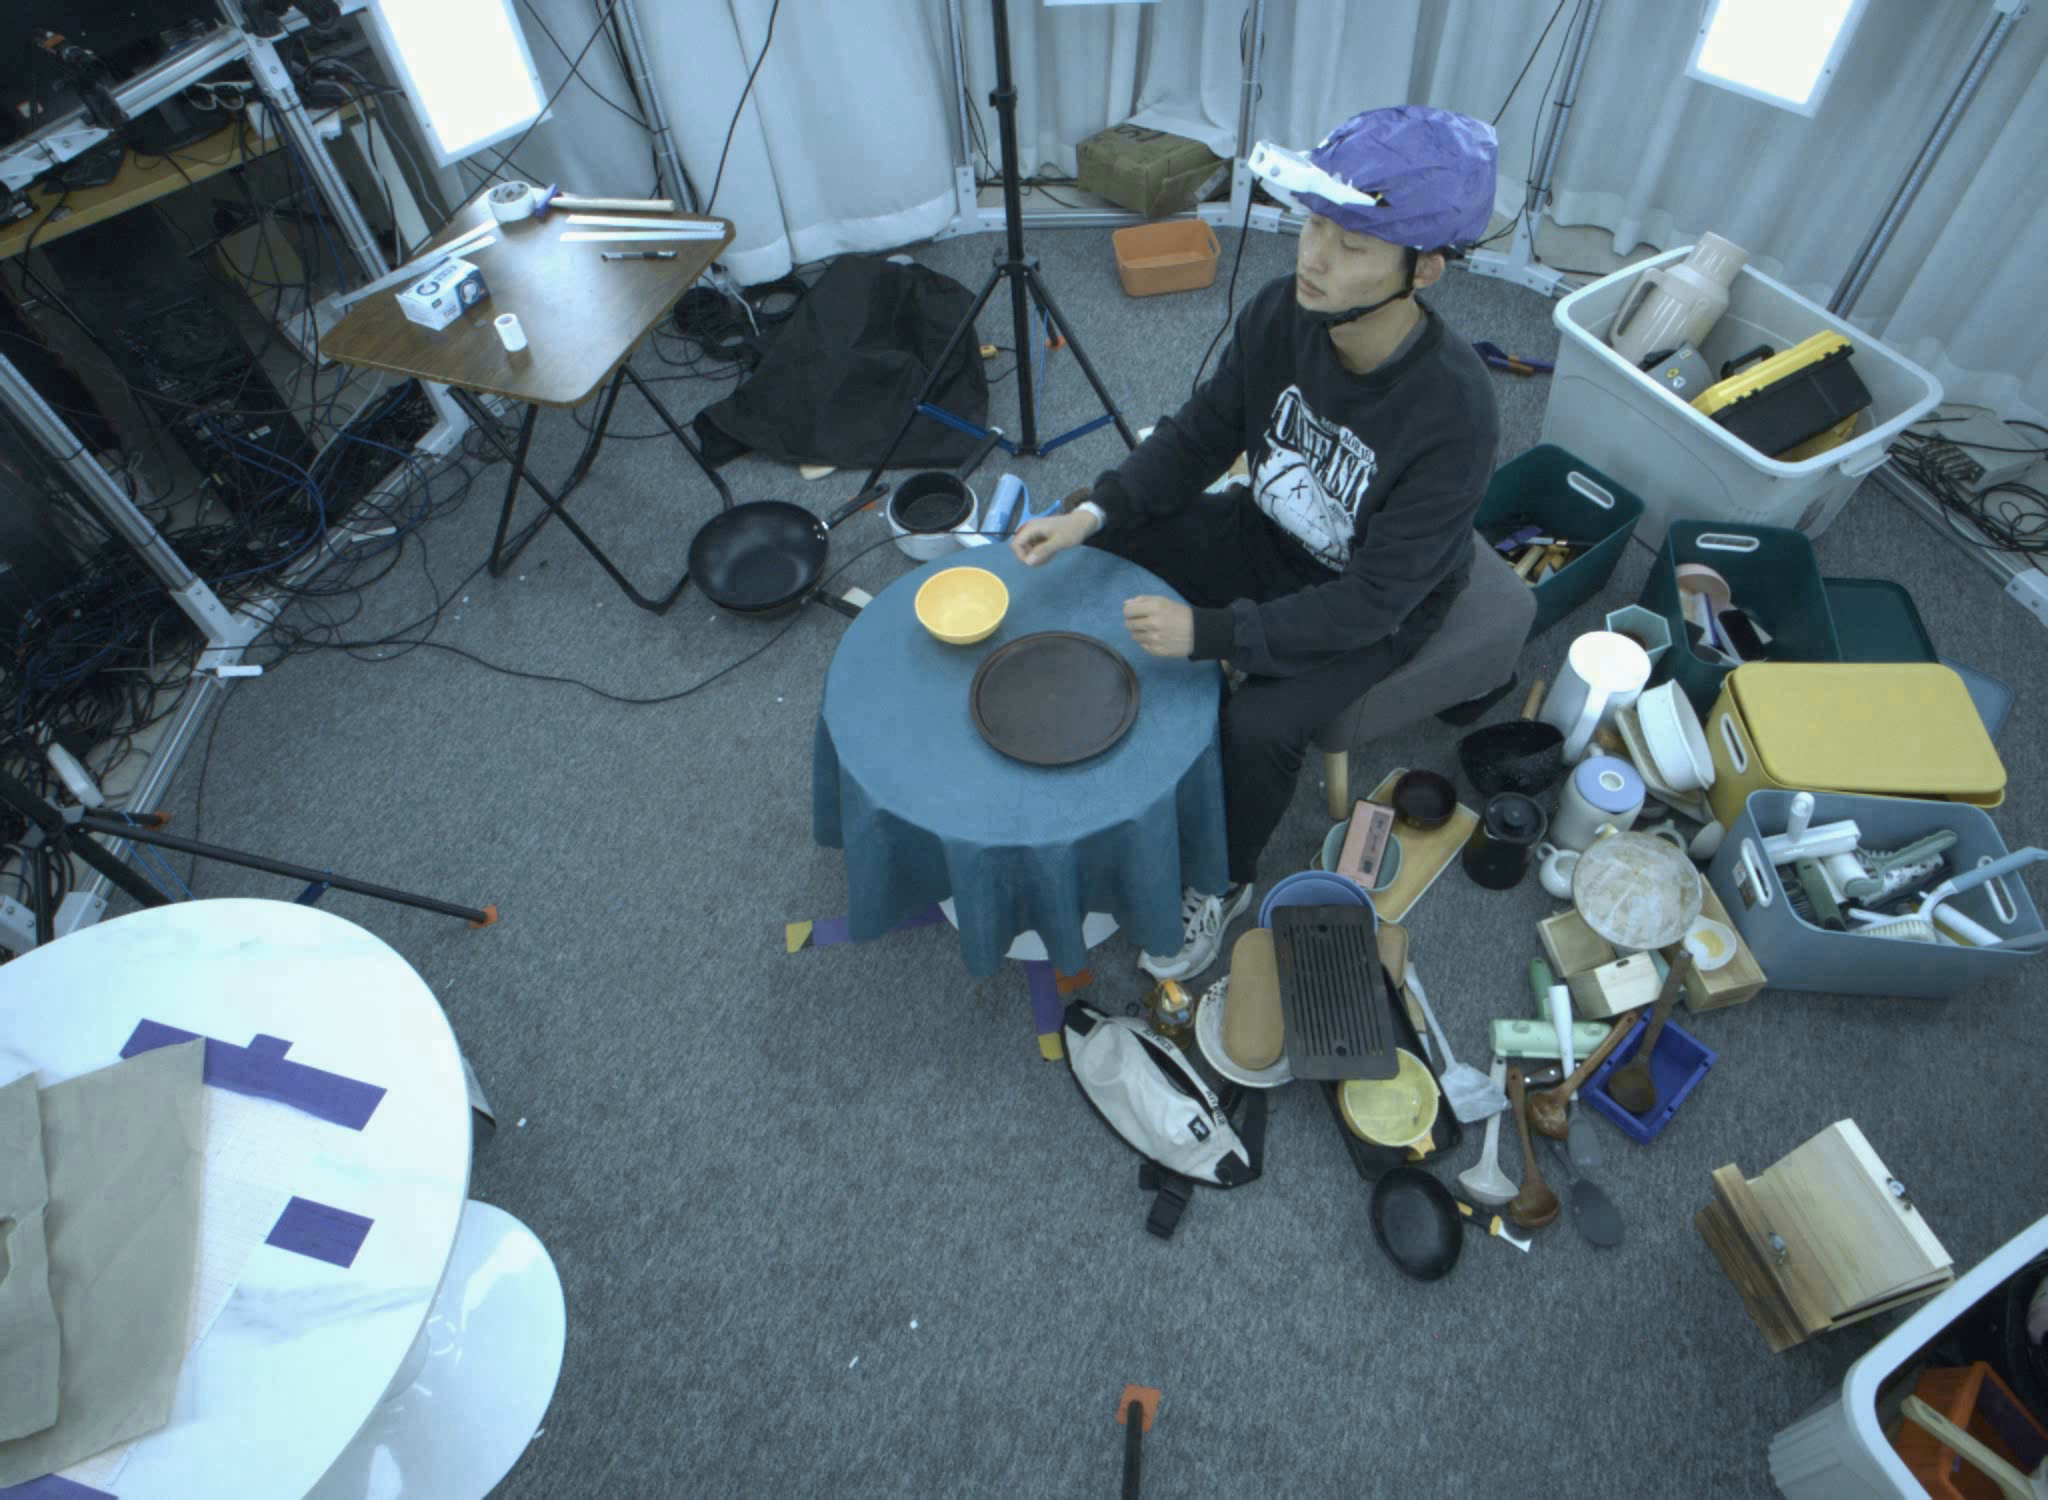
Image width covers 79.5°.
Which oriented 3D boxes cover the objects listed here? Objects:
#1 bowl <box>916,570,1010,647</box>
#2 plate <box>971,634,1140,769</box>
[{"bbox_3d":[-0.094,-0.209,1.913,0.145,0.060,0.144,1,55,-1],"label":"bowl"},{"bbox_3d":[0.047,-0.073,1.834,0.254,0.029,0.252,0,53,2],"label":"plate"}]
